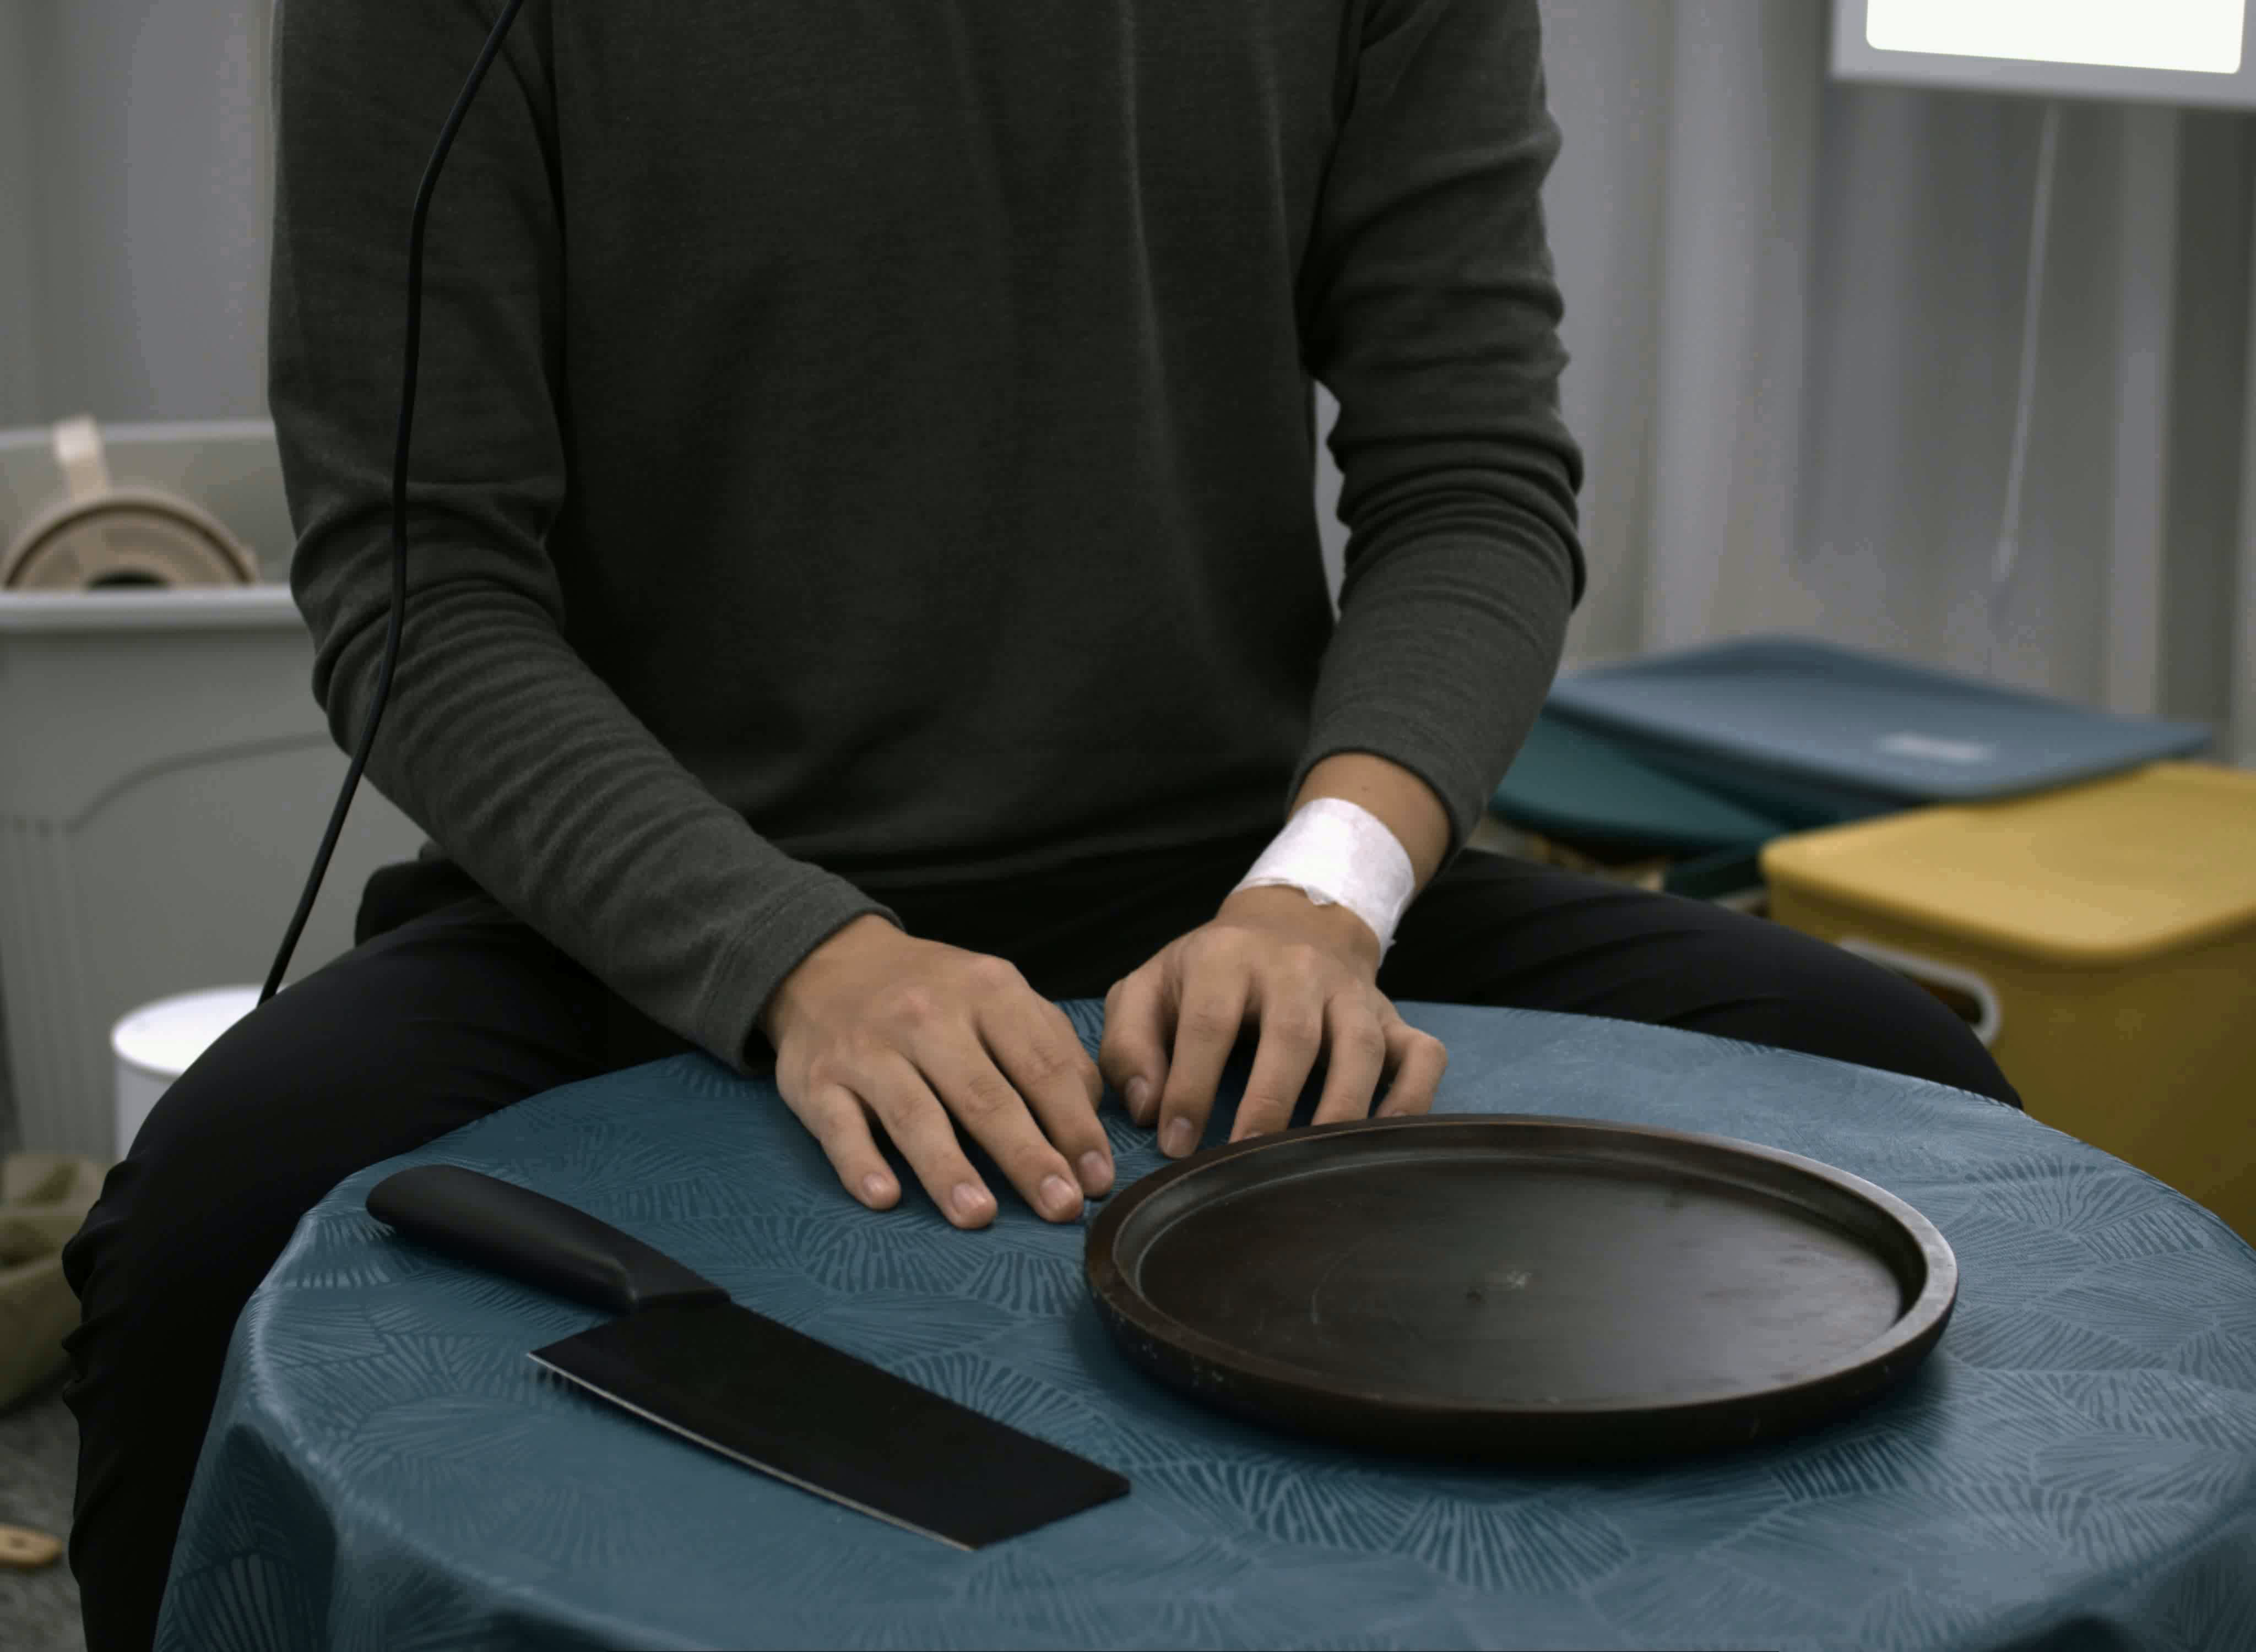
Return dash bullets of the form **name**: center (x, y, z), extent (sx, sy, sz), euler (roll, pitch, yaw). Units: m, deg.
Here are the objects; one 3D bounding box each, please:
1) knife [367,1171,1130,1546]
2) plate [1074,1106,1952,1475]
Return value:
- **knife**: center (-0.121, 0.147, 1.472), extent (0.081, 0.021, 0.298), euler (-14, 23, -38)
- **plate**: center (0.110, 0.131, 1.517), extent (0.254, 0.029, 0.253), euler (0, 16, 1)
